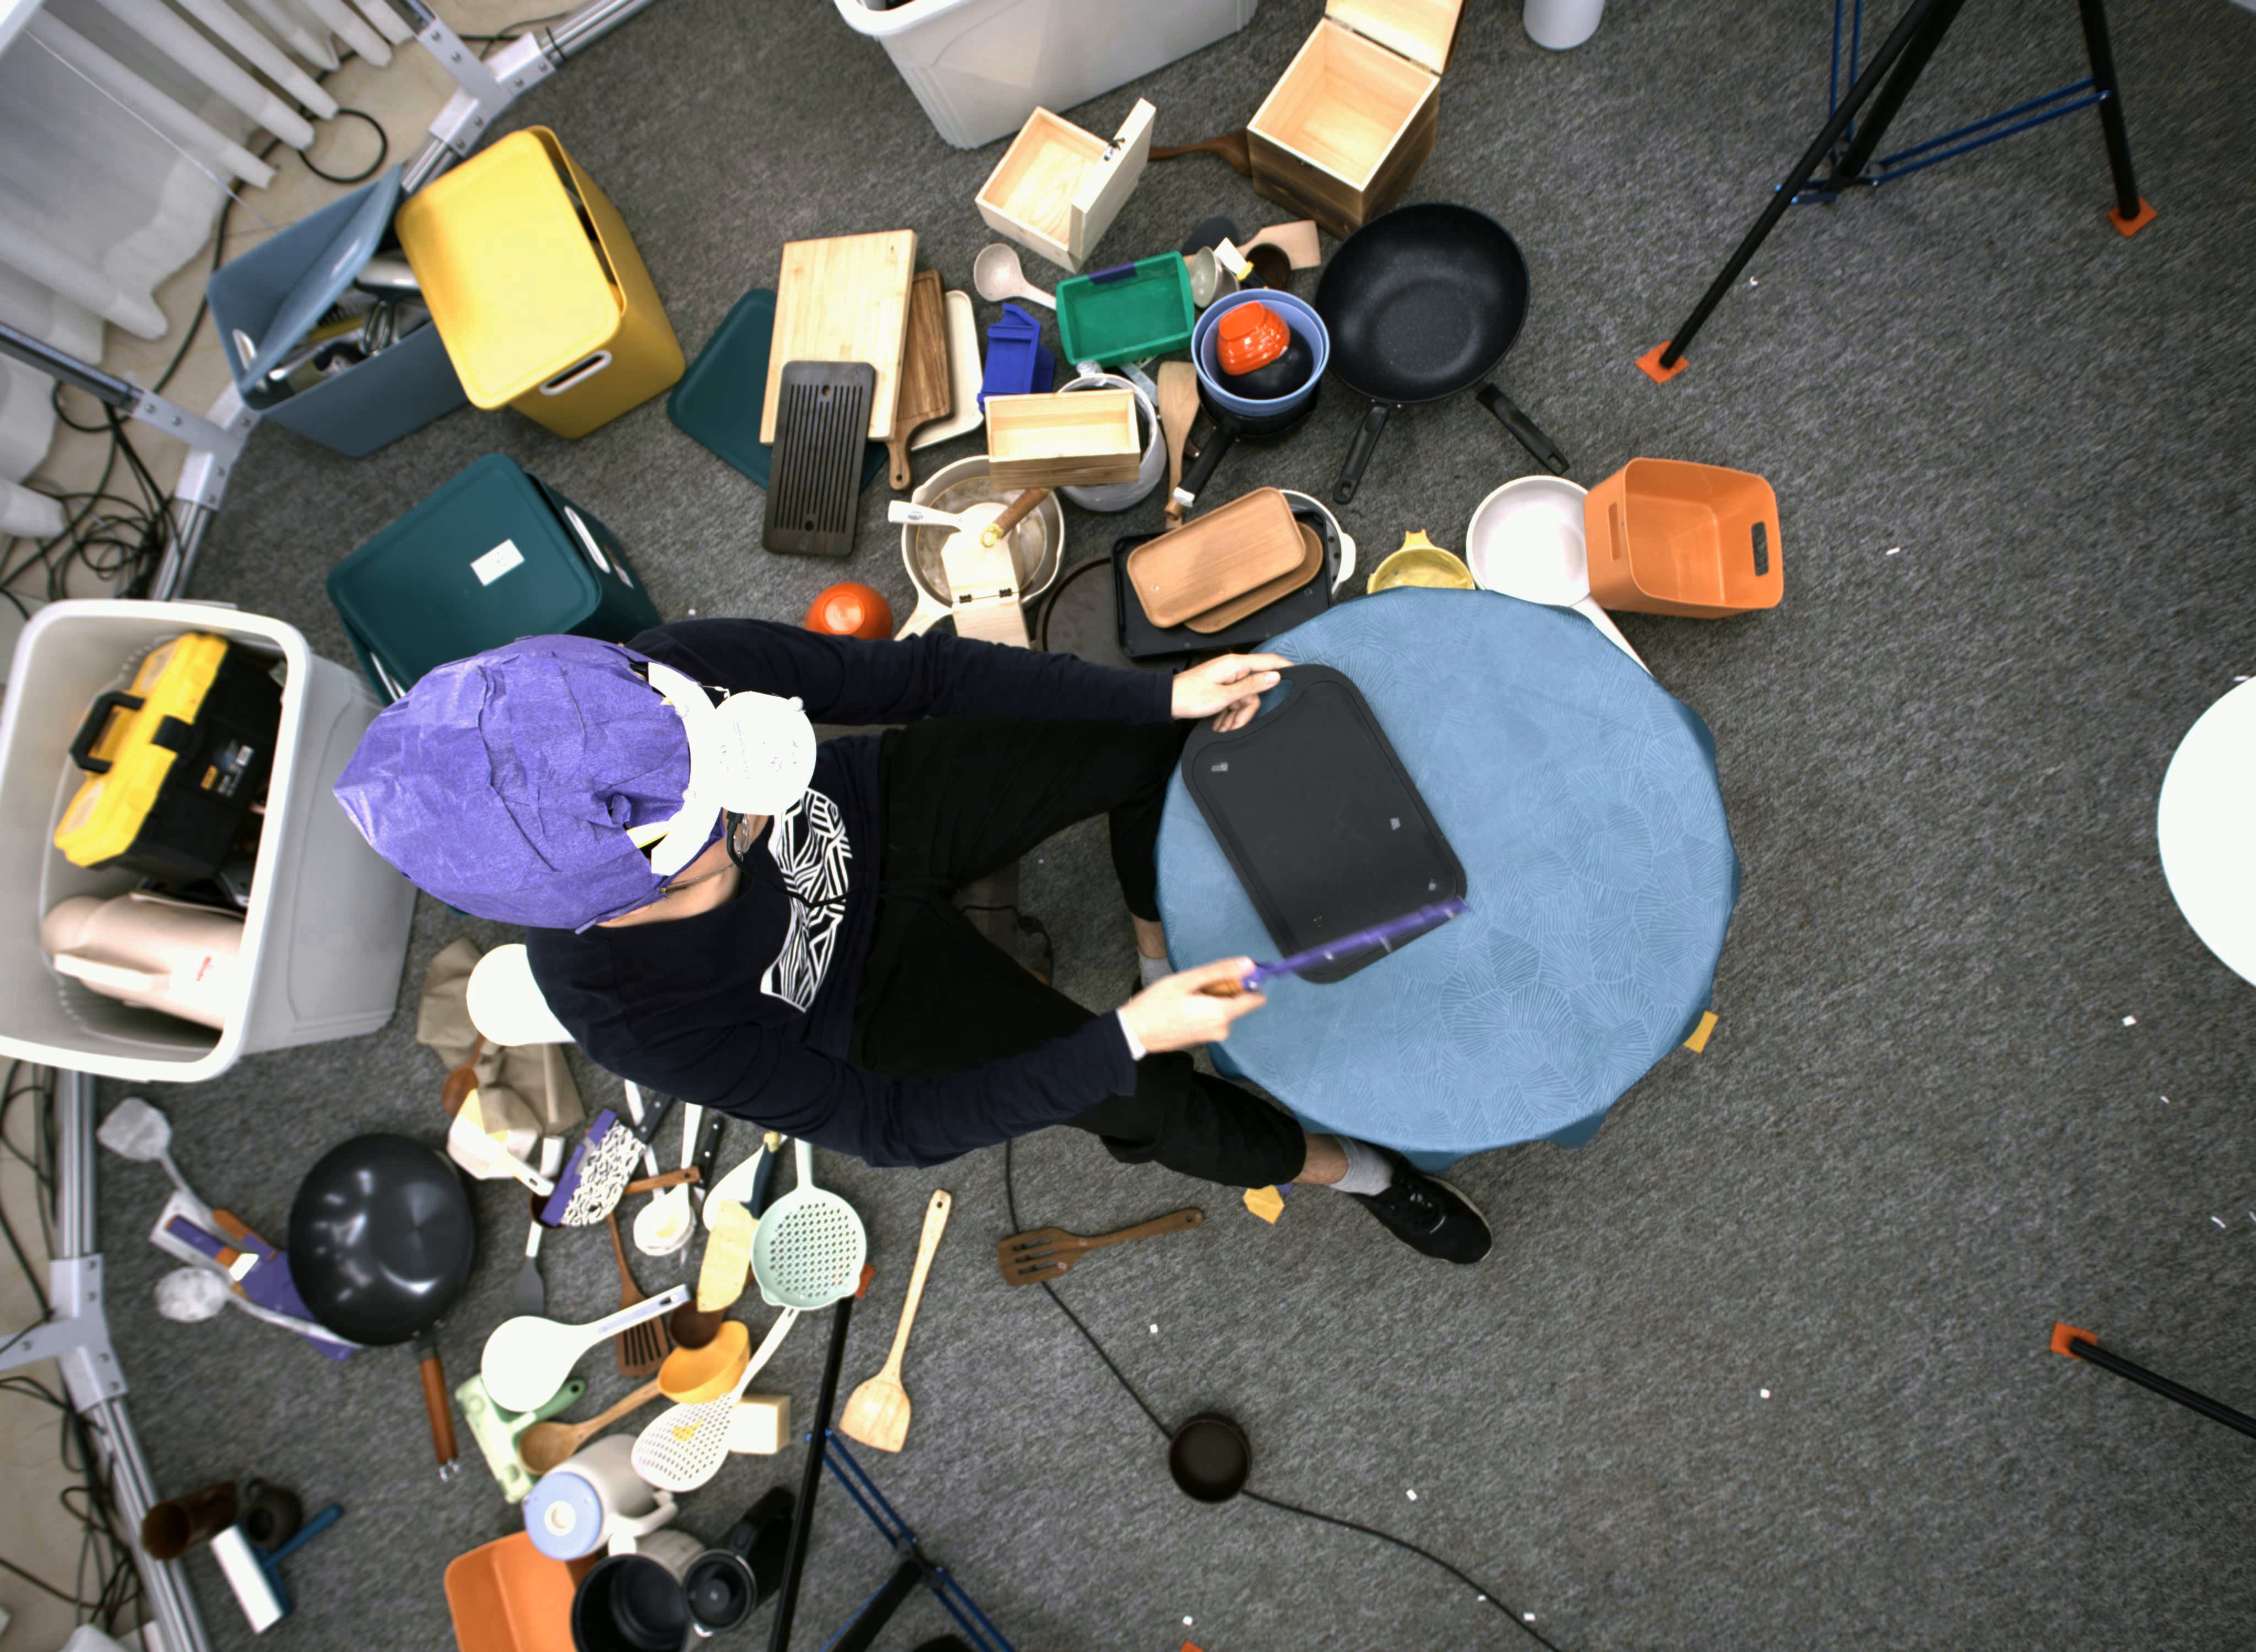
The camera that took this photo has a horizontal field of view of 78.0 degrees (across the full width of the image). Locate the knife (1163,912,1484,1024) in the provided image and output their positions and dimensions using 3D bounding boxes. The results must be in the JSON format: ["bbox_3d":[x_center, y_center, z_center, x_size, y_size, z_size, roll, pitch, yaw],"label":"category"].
[{"bbox_3d":[0.192,0.139,1.349,0.318,0.104,0.032,-18,72,18],"label":"knife"}]

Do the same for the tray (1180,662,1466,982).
[{"bbox_3d":[0.200,-0.011,1.458,0.212,0.010,0.324,-30,88,8],"label":"tray"}]
